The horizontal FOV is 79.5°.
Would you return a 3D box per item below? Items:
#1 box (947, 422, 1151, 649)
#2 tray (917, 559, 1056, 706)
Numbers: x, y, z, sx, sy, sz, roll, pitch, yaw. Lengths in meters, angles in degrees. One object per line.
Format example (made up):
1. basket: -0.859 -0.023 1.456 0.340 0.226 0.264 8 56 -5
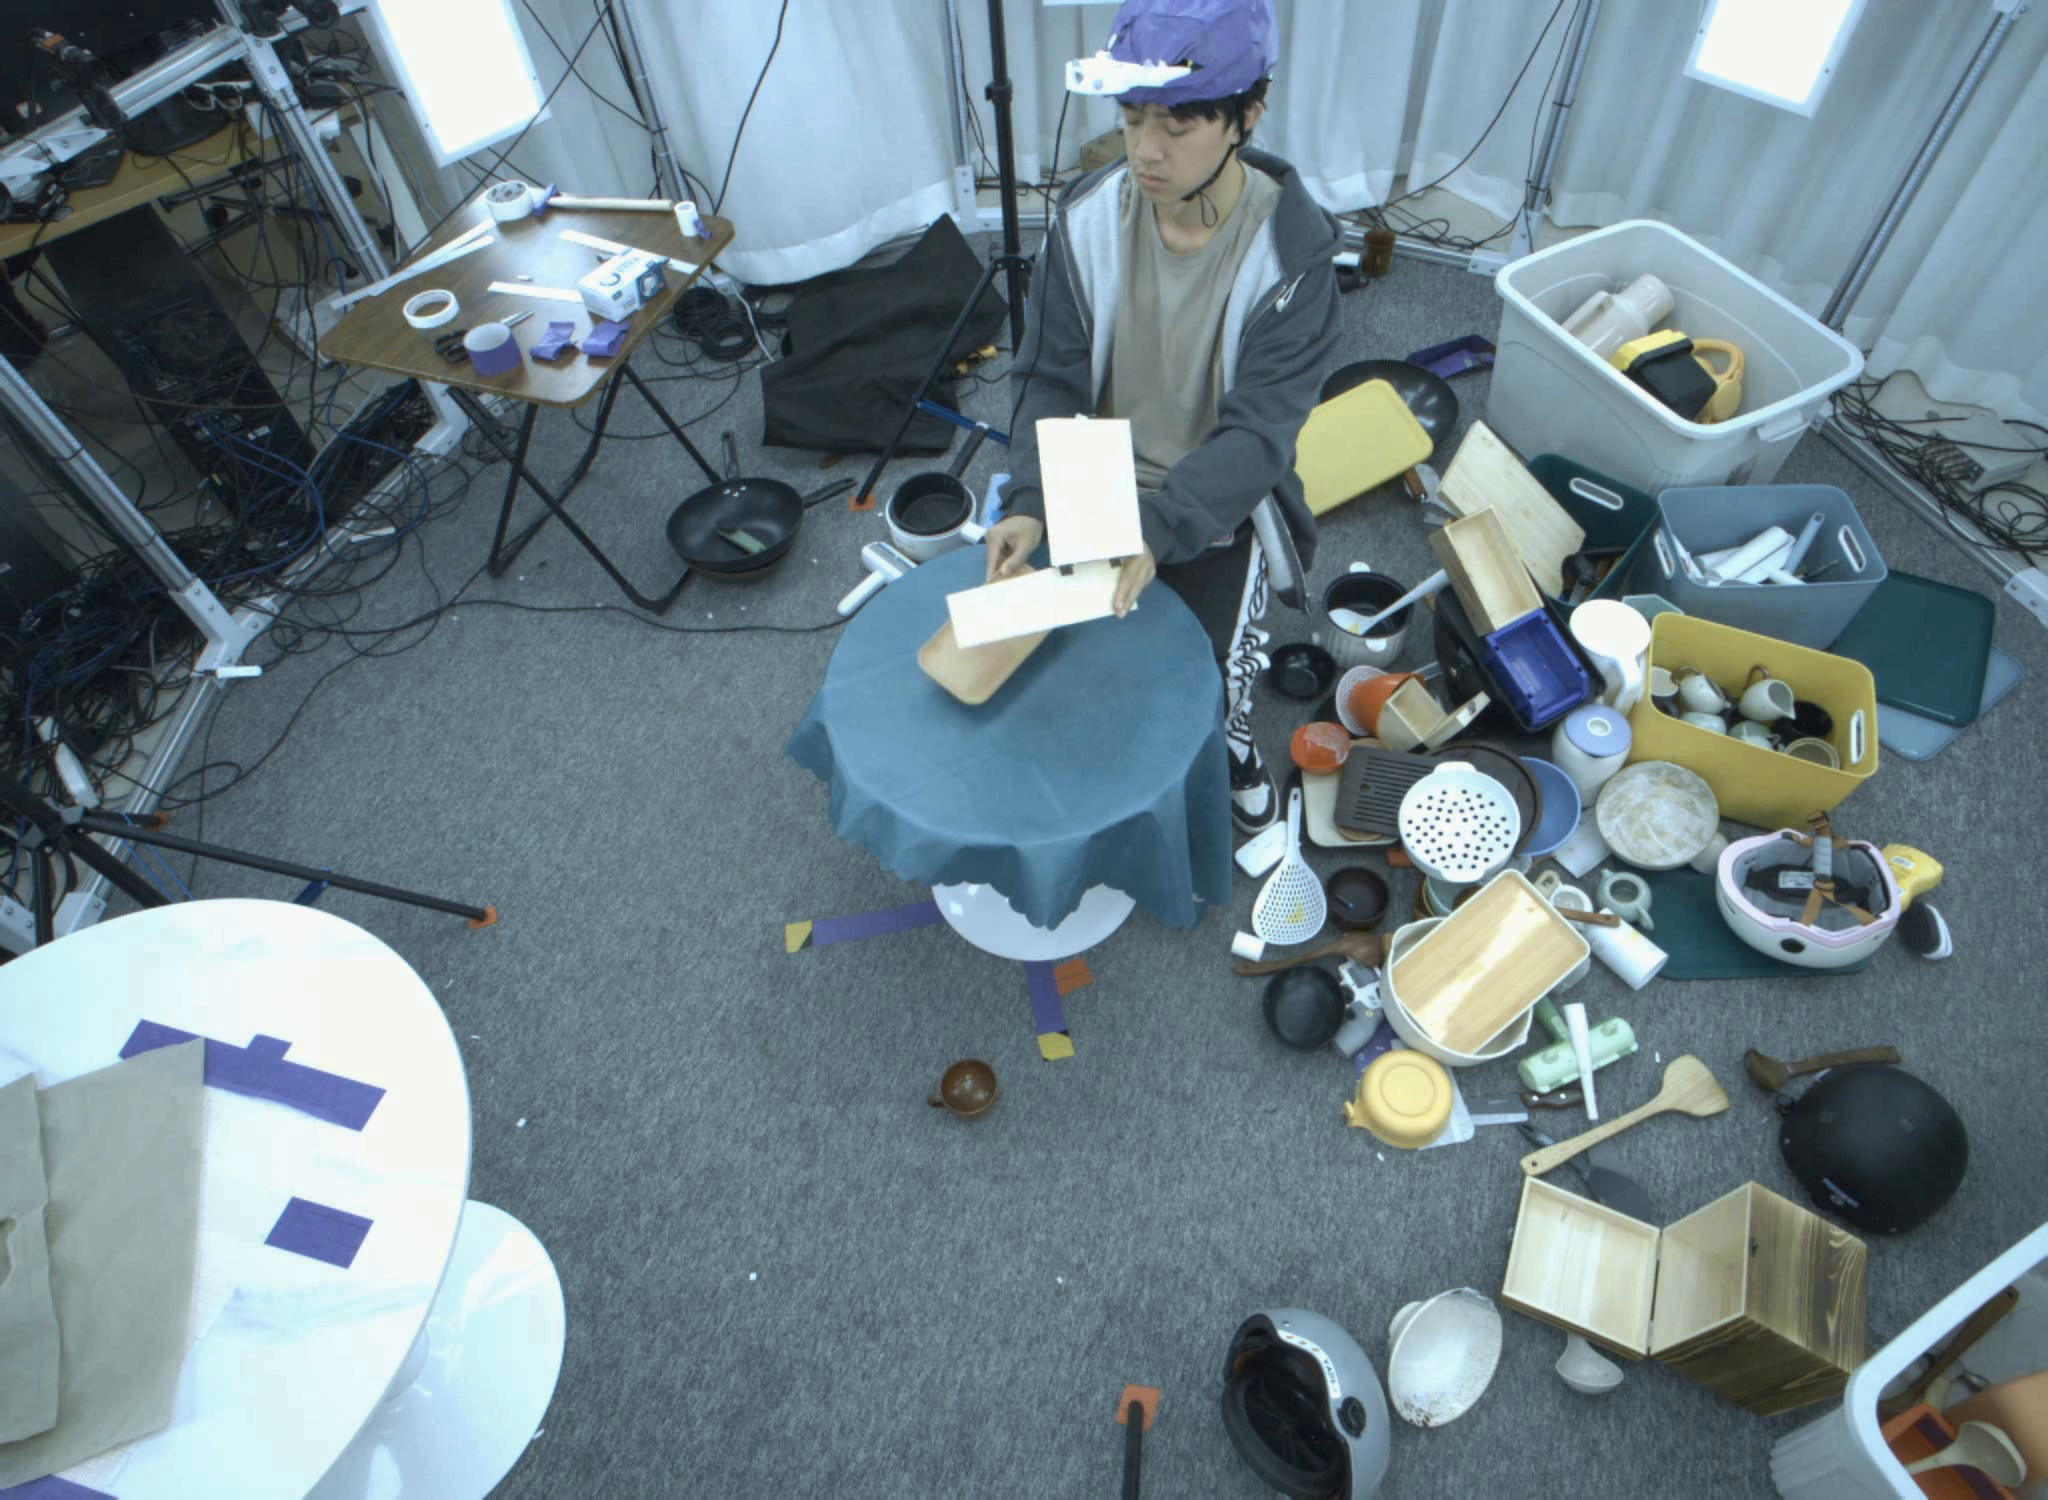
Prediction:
1. box: 0.035 -0.288 1.647 0.260 0.254 0.185 -7 6 36
2. tray: -0.045 -0.179 1.854 0.130 0.023 0.252 40 66 4
